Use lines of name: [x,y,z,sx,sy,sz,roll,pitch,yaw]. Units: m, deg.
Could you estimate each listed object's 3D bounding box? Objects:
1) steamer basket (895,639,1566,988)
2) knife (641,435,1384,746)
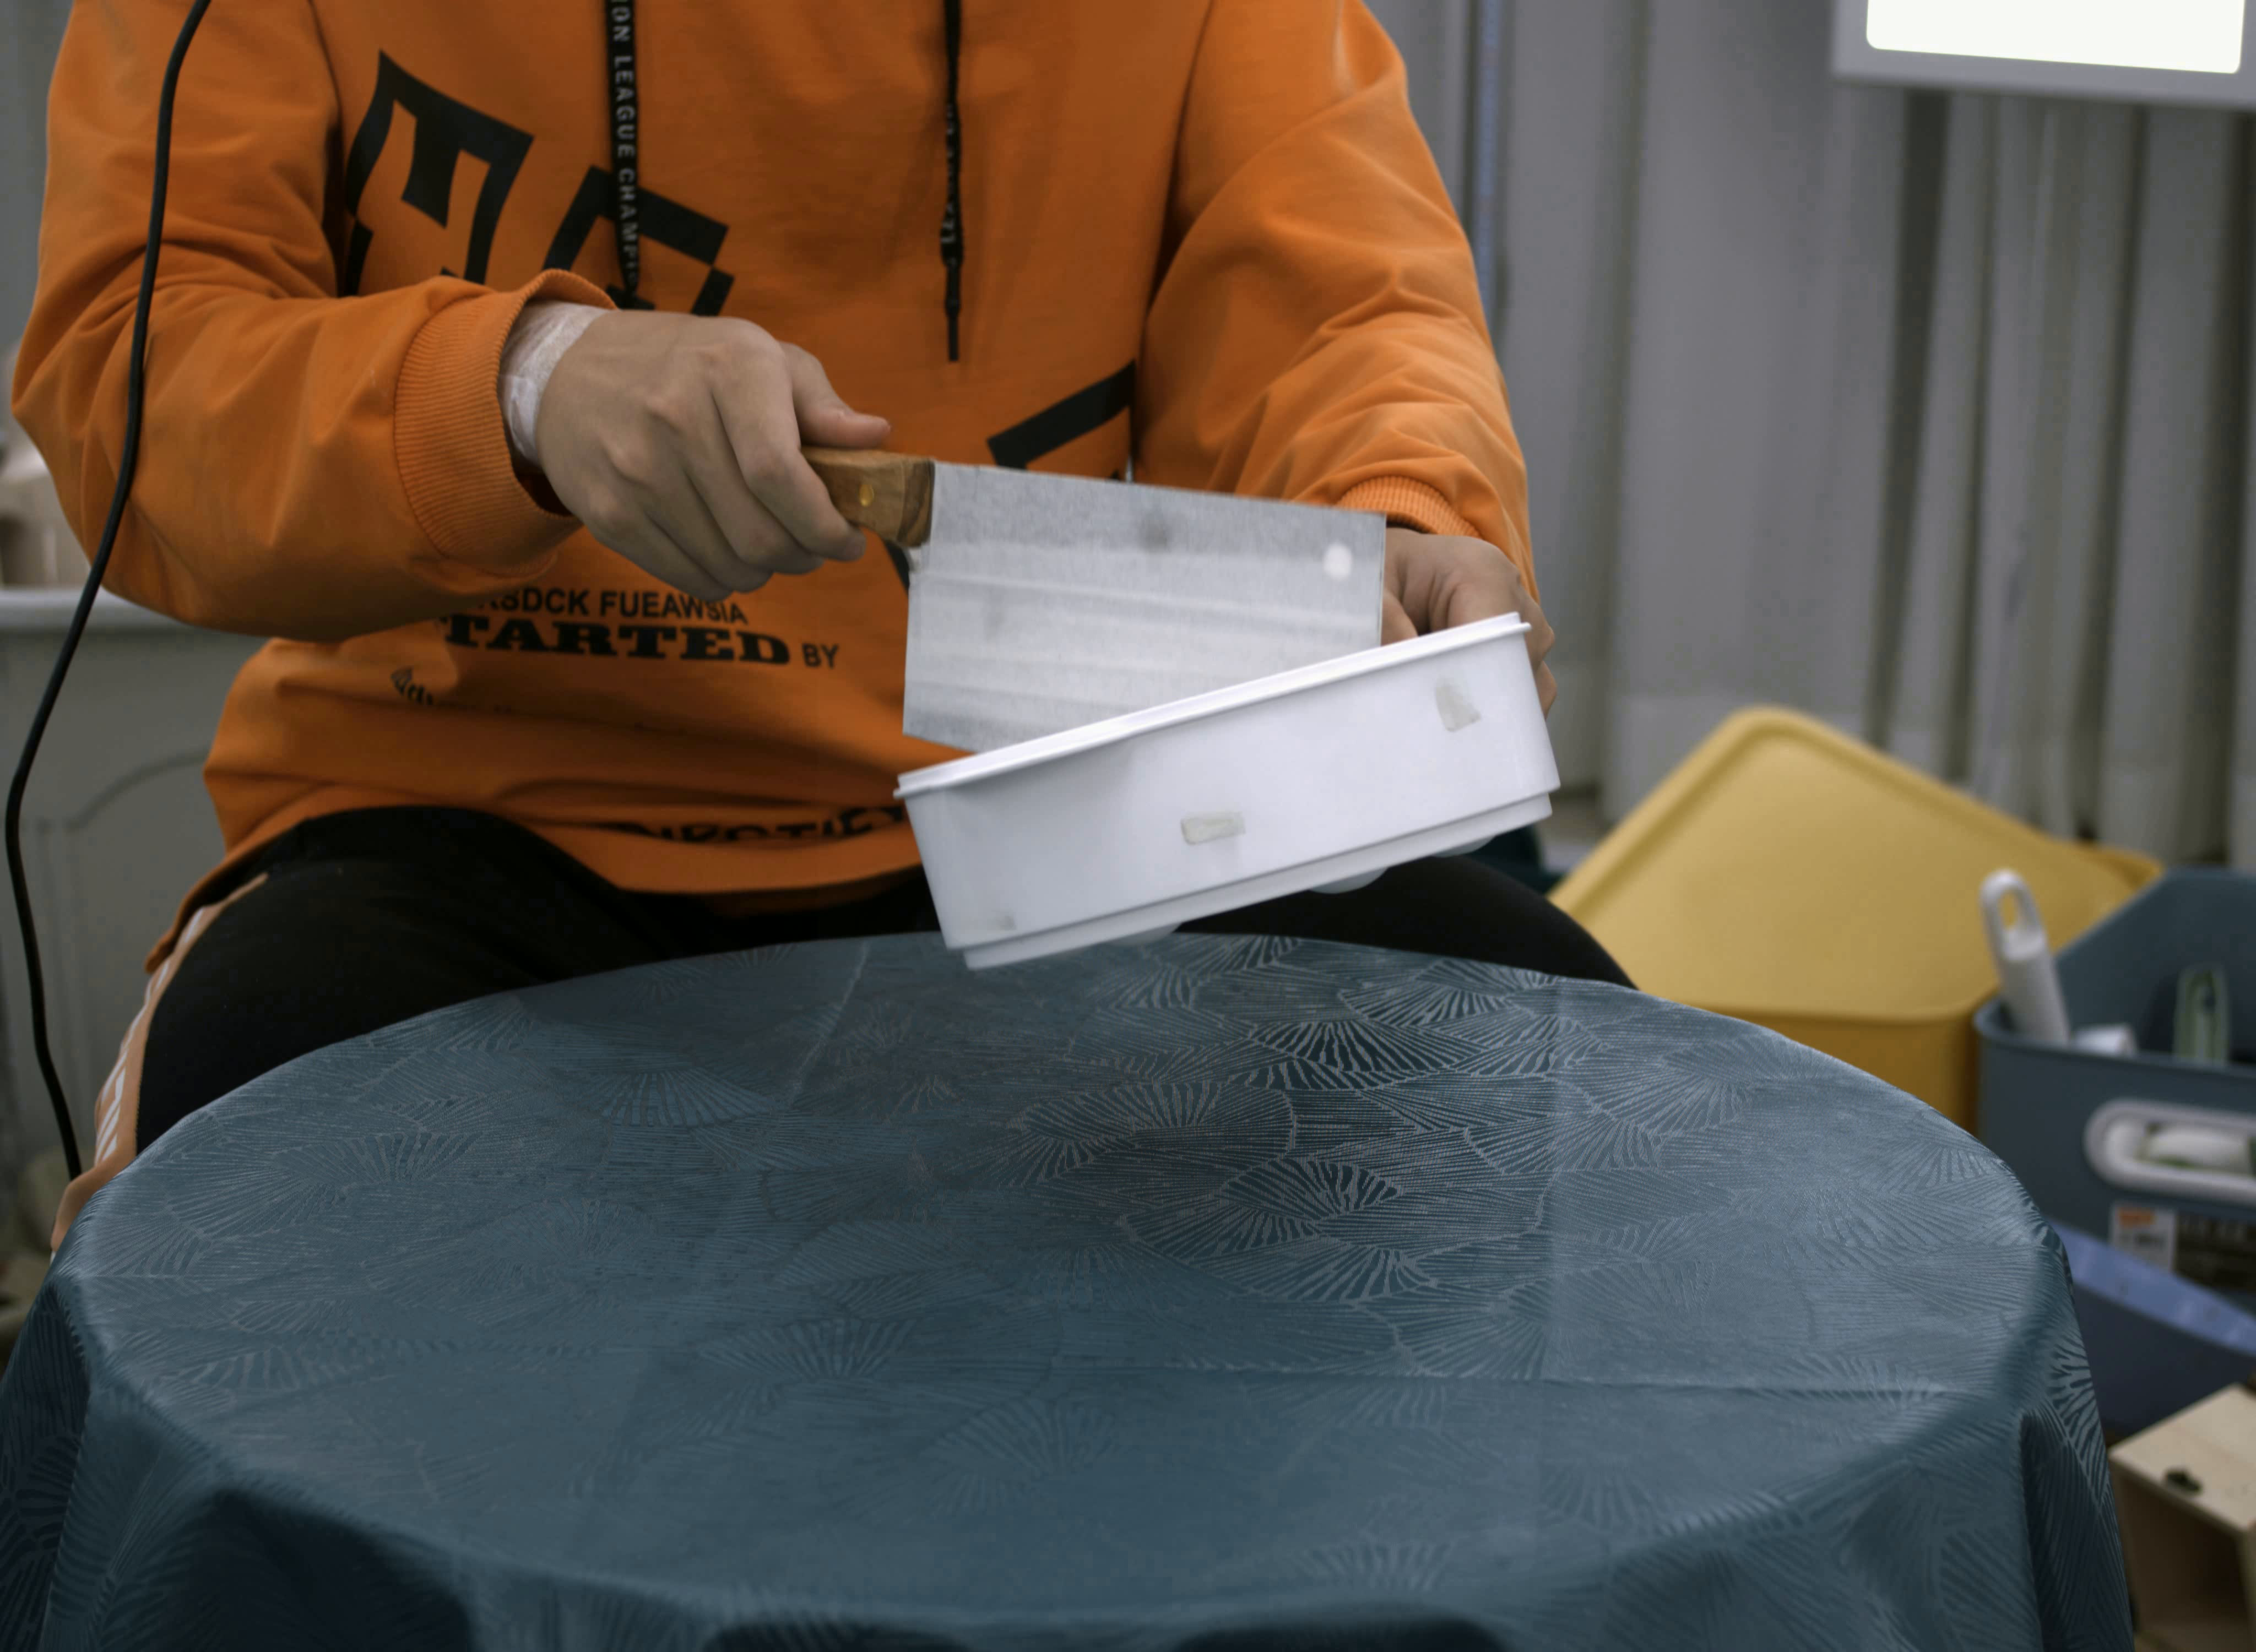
steamer basket: [0.033,-0.003,1.593,0.200,0.069,0.231,-10,6,35]
knife: [-0.042,-0.073,1.650,0.302,0.093,0.021,9,12,39]
